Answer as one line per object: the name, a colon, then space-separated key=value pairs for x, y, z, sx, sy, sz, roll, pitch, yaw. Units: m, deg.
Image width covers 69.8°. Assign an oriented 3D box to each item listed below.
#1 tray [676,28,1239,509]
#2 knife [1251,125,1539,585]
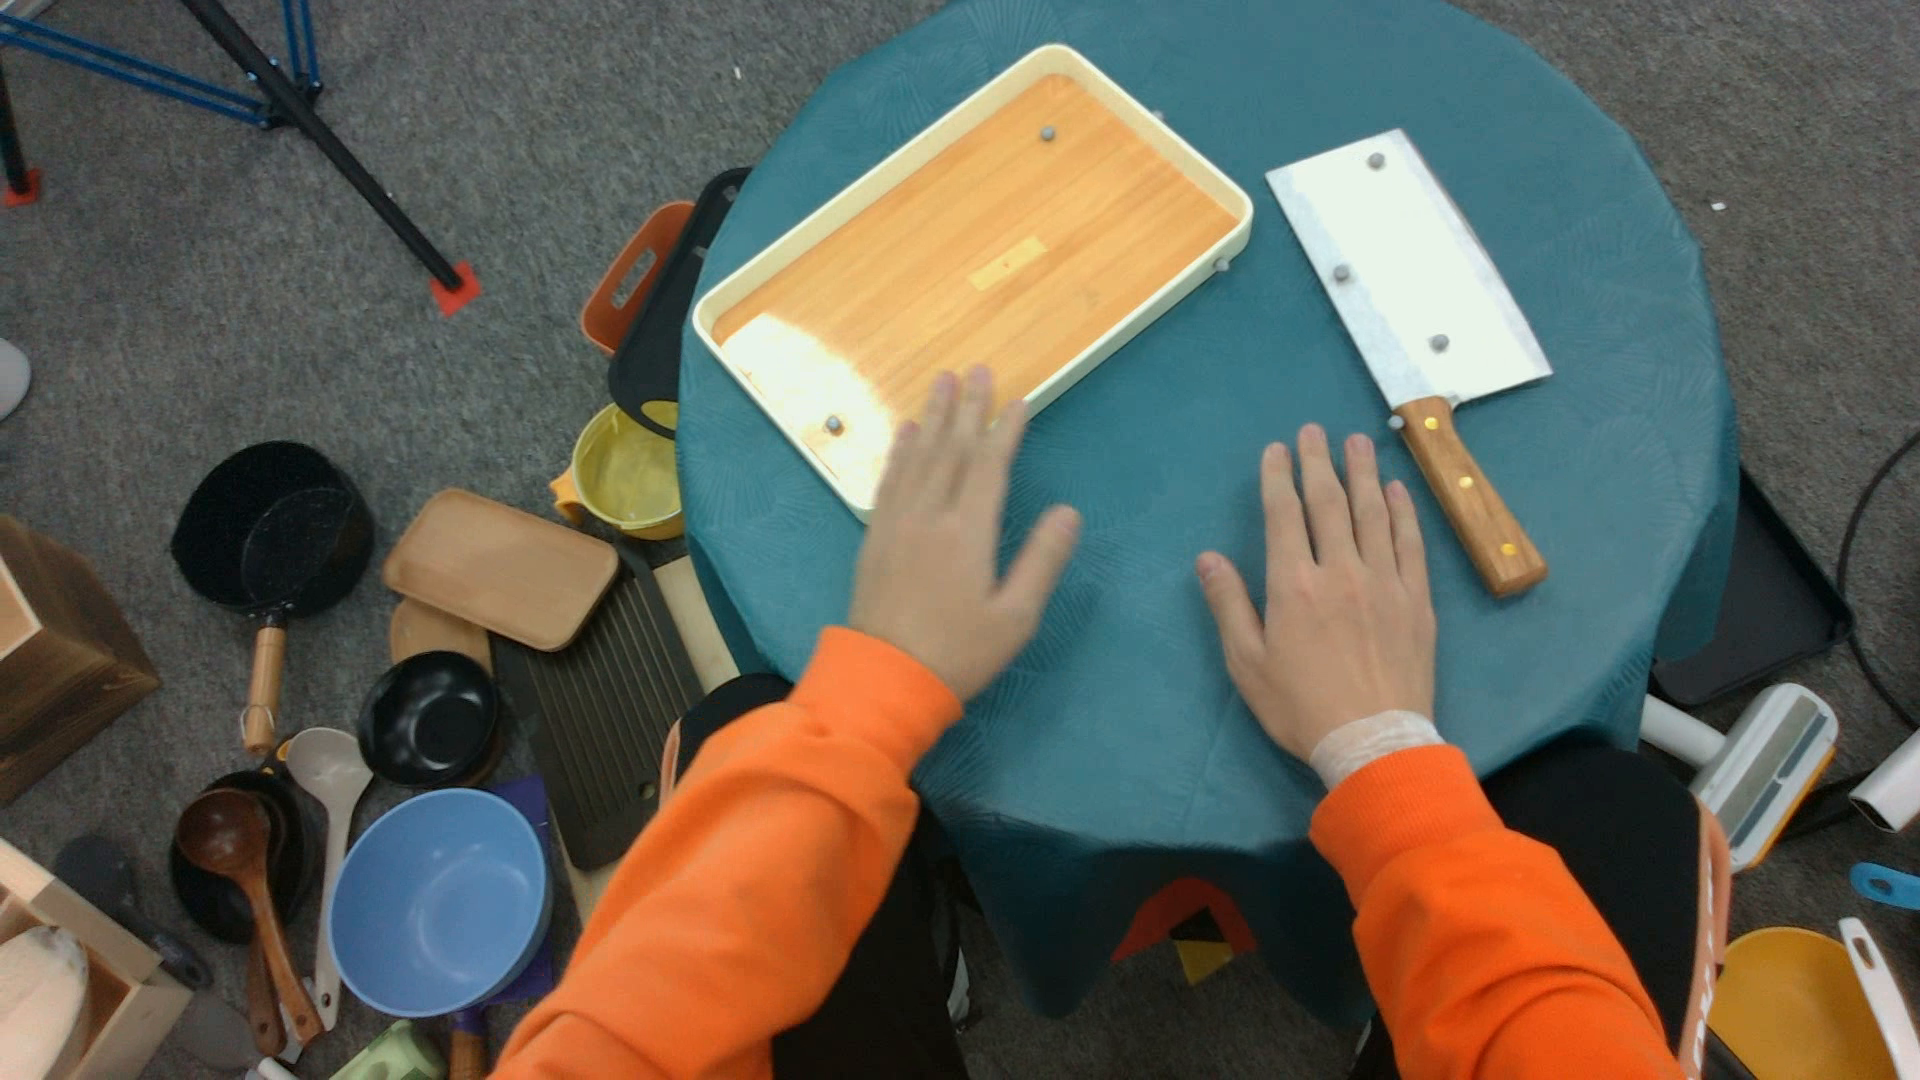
tray: x=-0.002 y=-0.170 z=0.824 sx=0.301 sy=0.027 sz=0.192 roll=-38 pitch=68 yaw=-10
knife: x=0.262 y=-0.119 z=0.775 sx=0.093 sy=0.021 sz=0.306 roll=-18 pitch=63 yaw=-2
